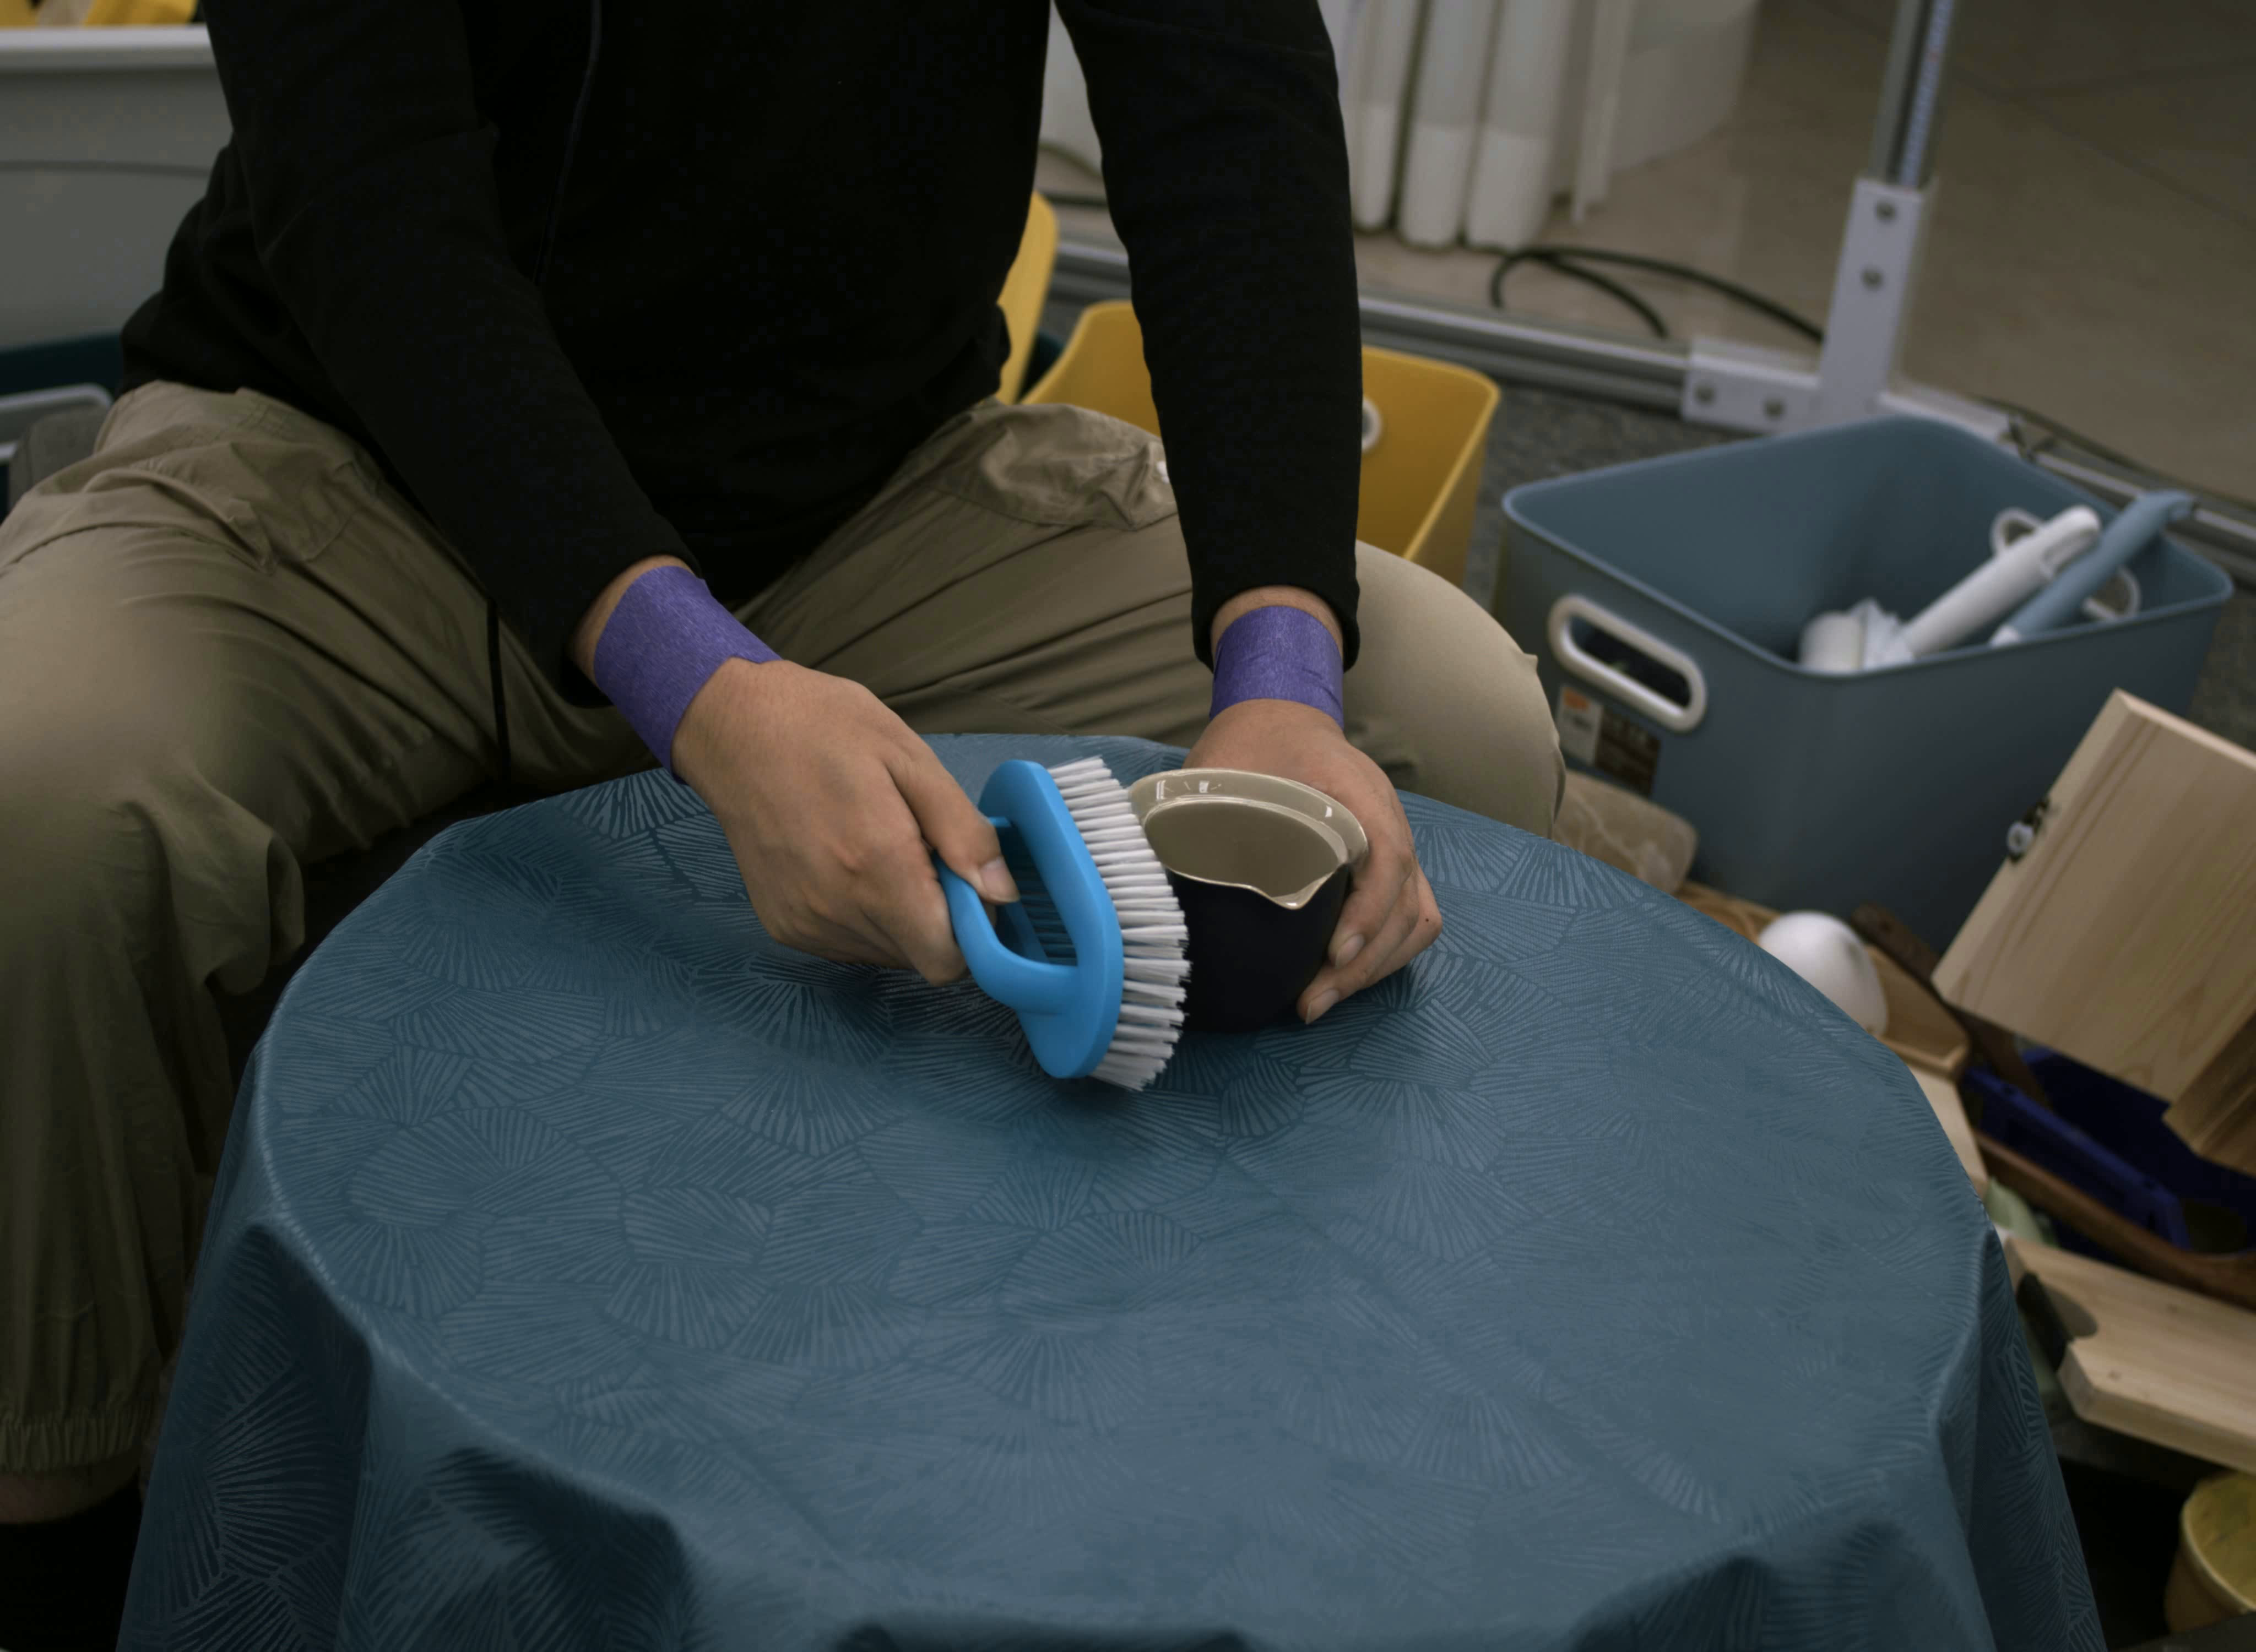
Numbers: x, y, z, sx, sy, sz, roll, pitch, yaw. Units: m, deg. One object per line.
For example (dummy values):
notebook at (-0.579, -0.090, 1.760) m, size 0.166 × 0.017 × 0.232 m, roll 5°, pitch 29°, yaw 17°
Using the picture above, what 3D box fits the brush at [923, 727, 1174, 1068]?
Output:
brush at (-0.035, 0.027, 1.870) m, size 0.063 × 0.084 × 0.143 m, roll 1°, pitch 39°, yaw -22°

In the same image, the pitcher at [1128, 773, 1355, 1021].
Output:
pitcher at (0.038, 0.030, 1.911) m, size 0.083 × 0.071 × 0.097 m, roll 0°, pitch 29°, yaw -16°
